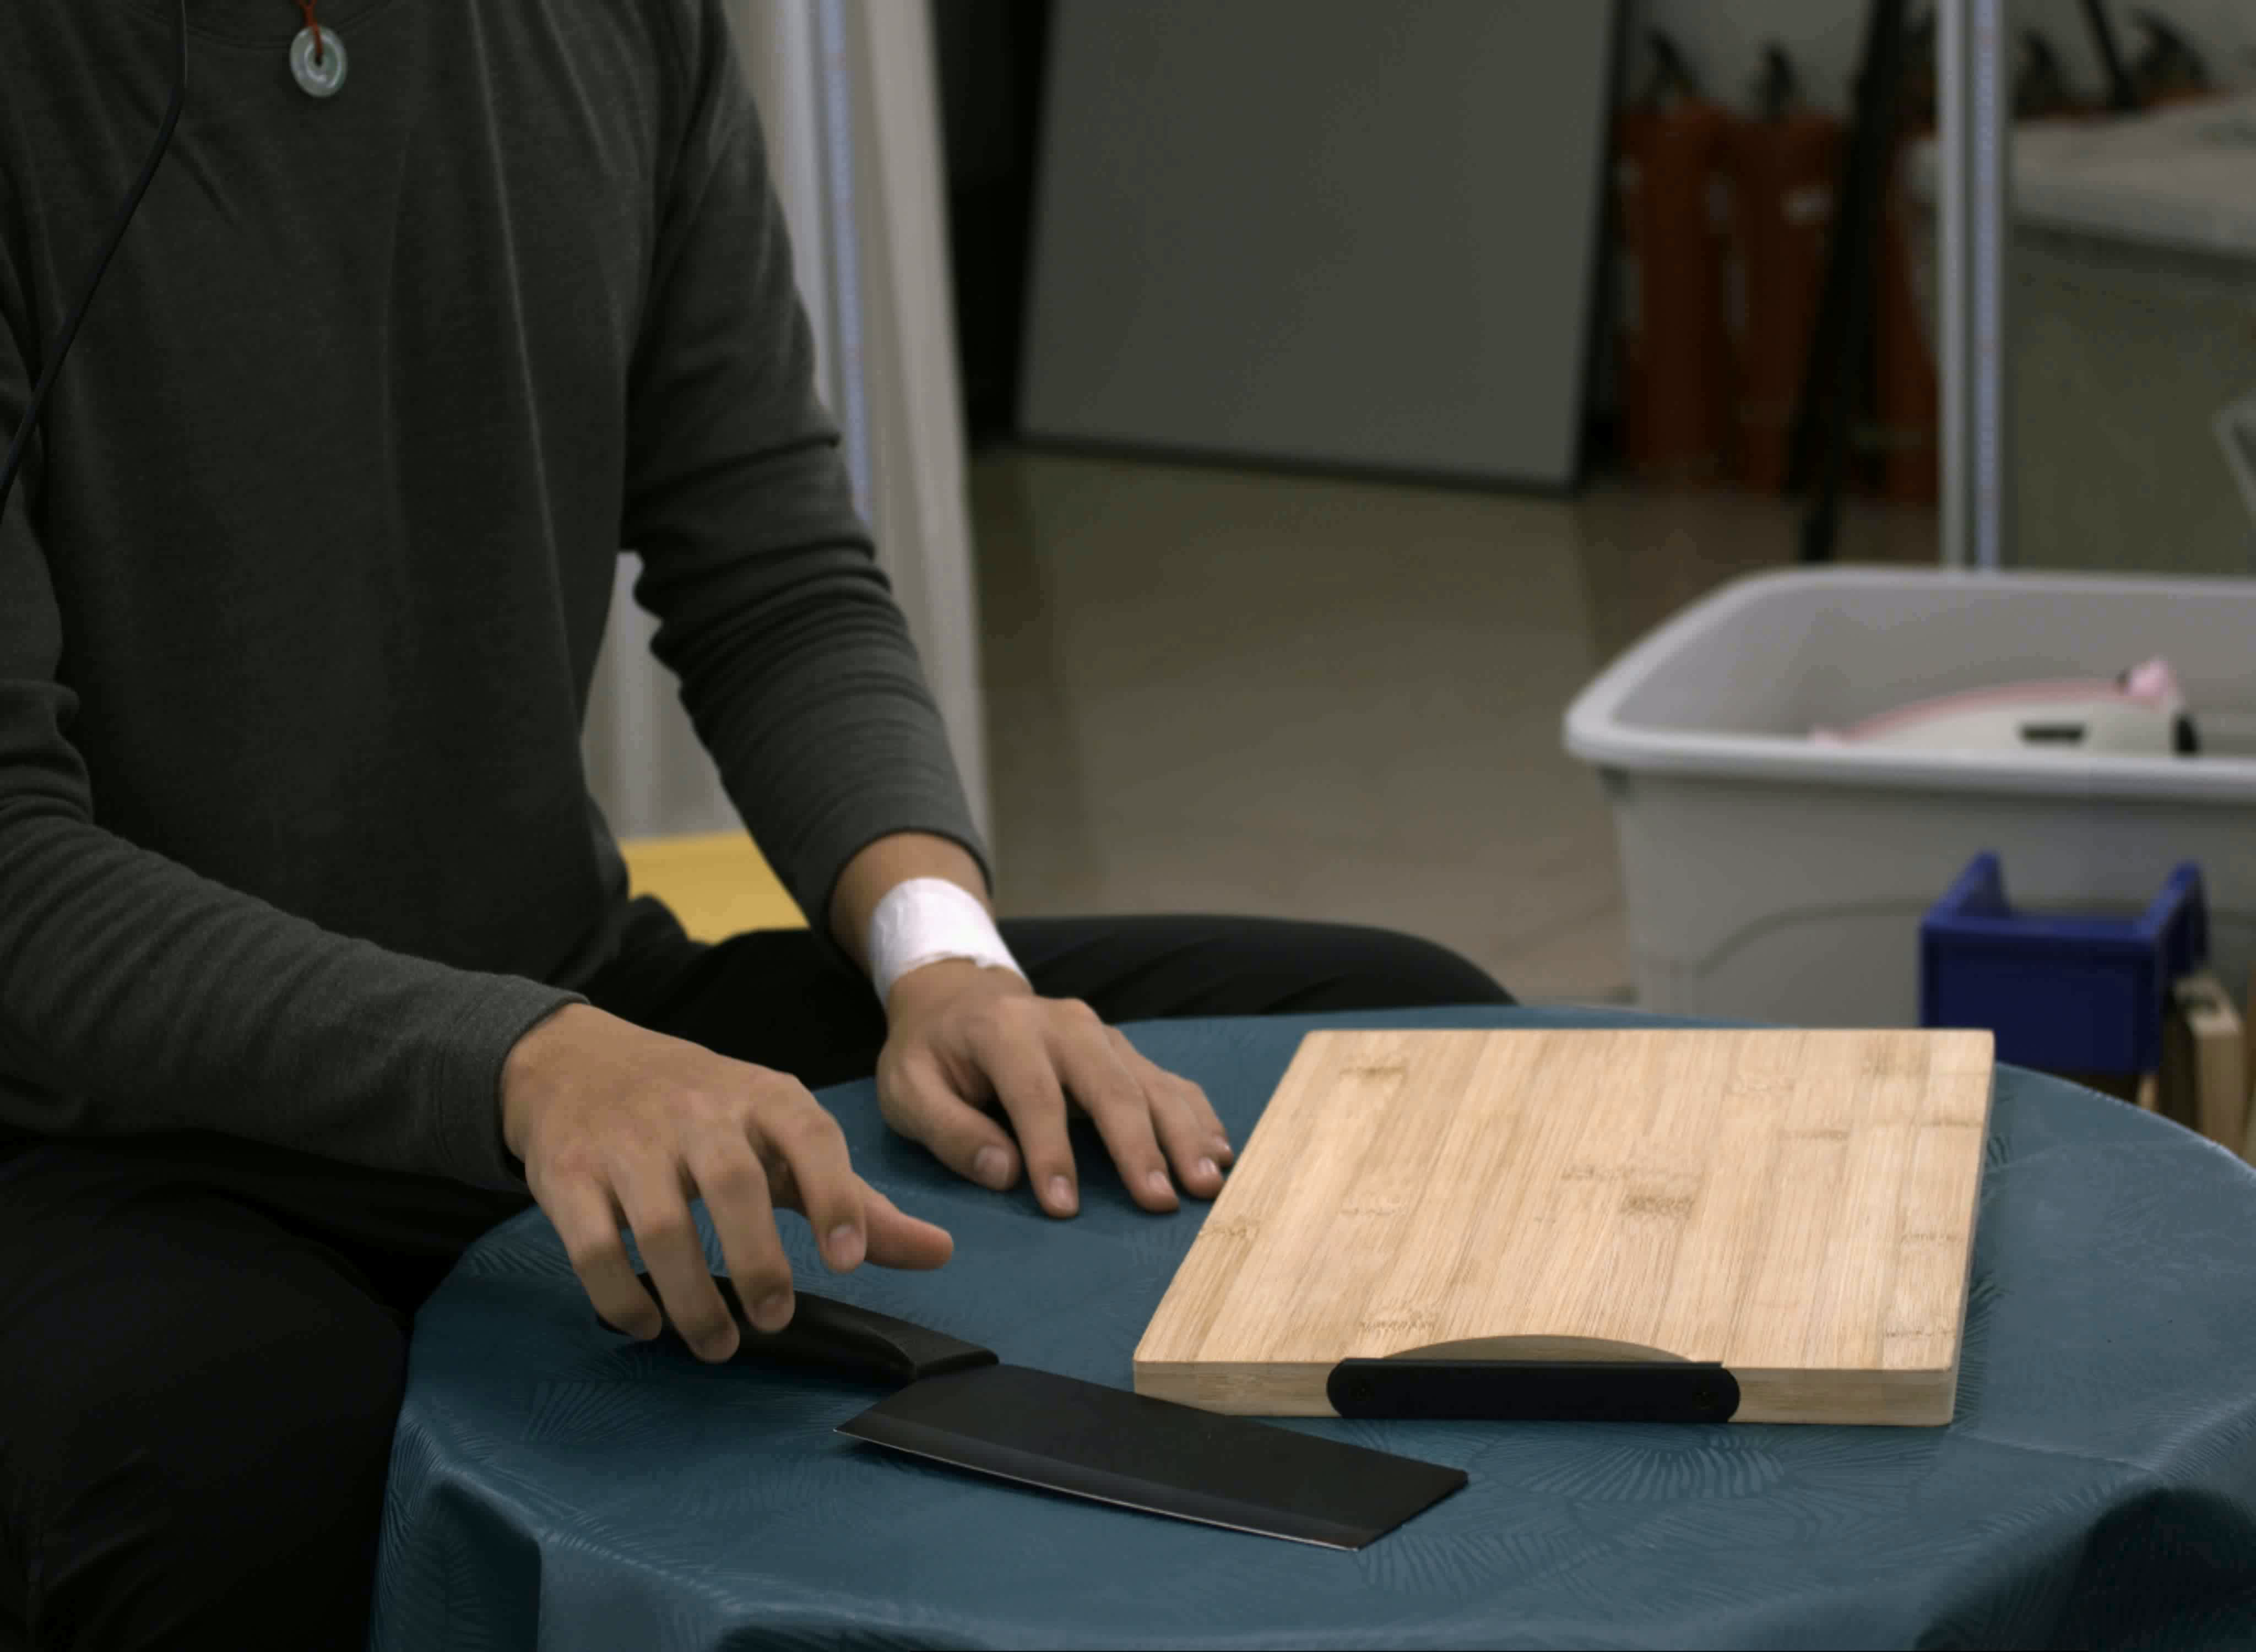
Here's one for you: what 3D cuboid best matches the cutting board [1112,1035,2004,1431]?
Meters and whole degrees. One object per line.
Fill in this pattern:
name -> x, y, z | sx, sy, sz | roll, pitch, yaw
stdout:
cutting board -> 0.147, 0.123, 1.691 | 0.249, 0.024, 0.347 | -2, 13, 12

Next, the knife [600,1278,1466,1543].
knife -> -0.039, 0.169, 1.562 | 0.305, 0.021, 0.079 | 10, 20, 40
